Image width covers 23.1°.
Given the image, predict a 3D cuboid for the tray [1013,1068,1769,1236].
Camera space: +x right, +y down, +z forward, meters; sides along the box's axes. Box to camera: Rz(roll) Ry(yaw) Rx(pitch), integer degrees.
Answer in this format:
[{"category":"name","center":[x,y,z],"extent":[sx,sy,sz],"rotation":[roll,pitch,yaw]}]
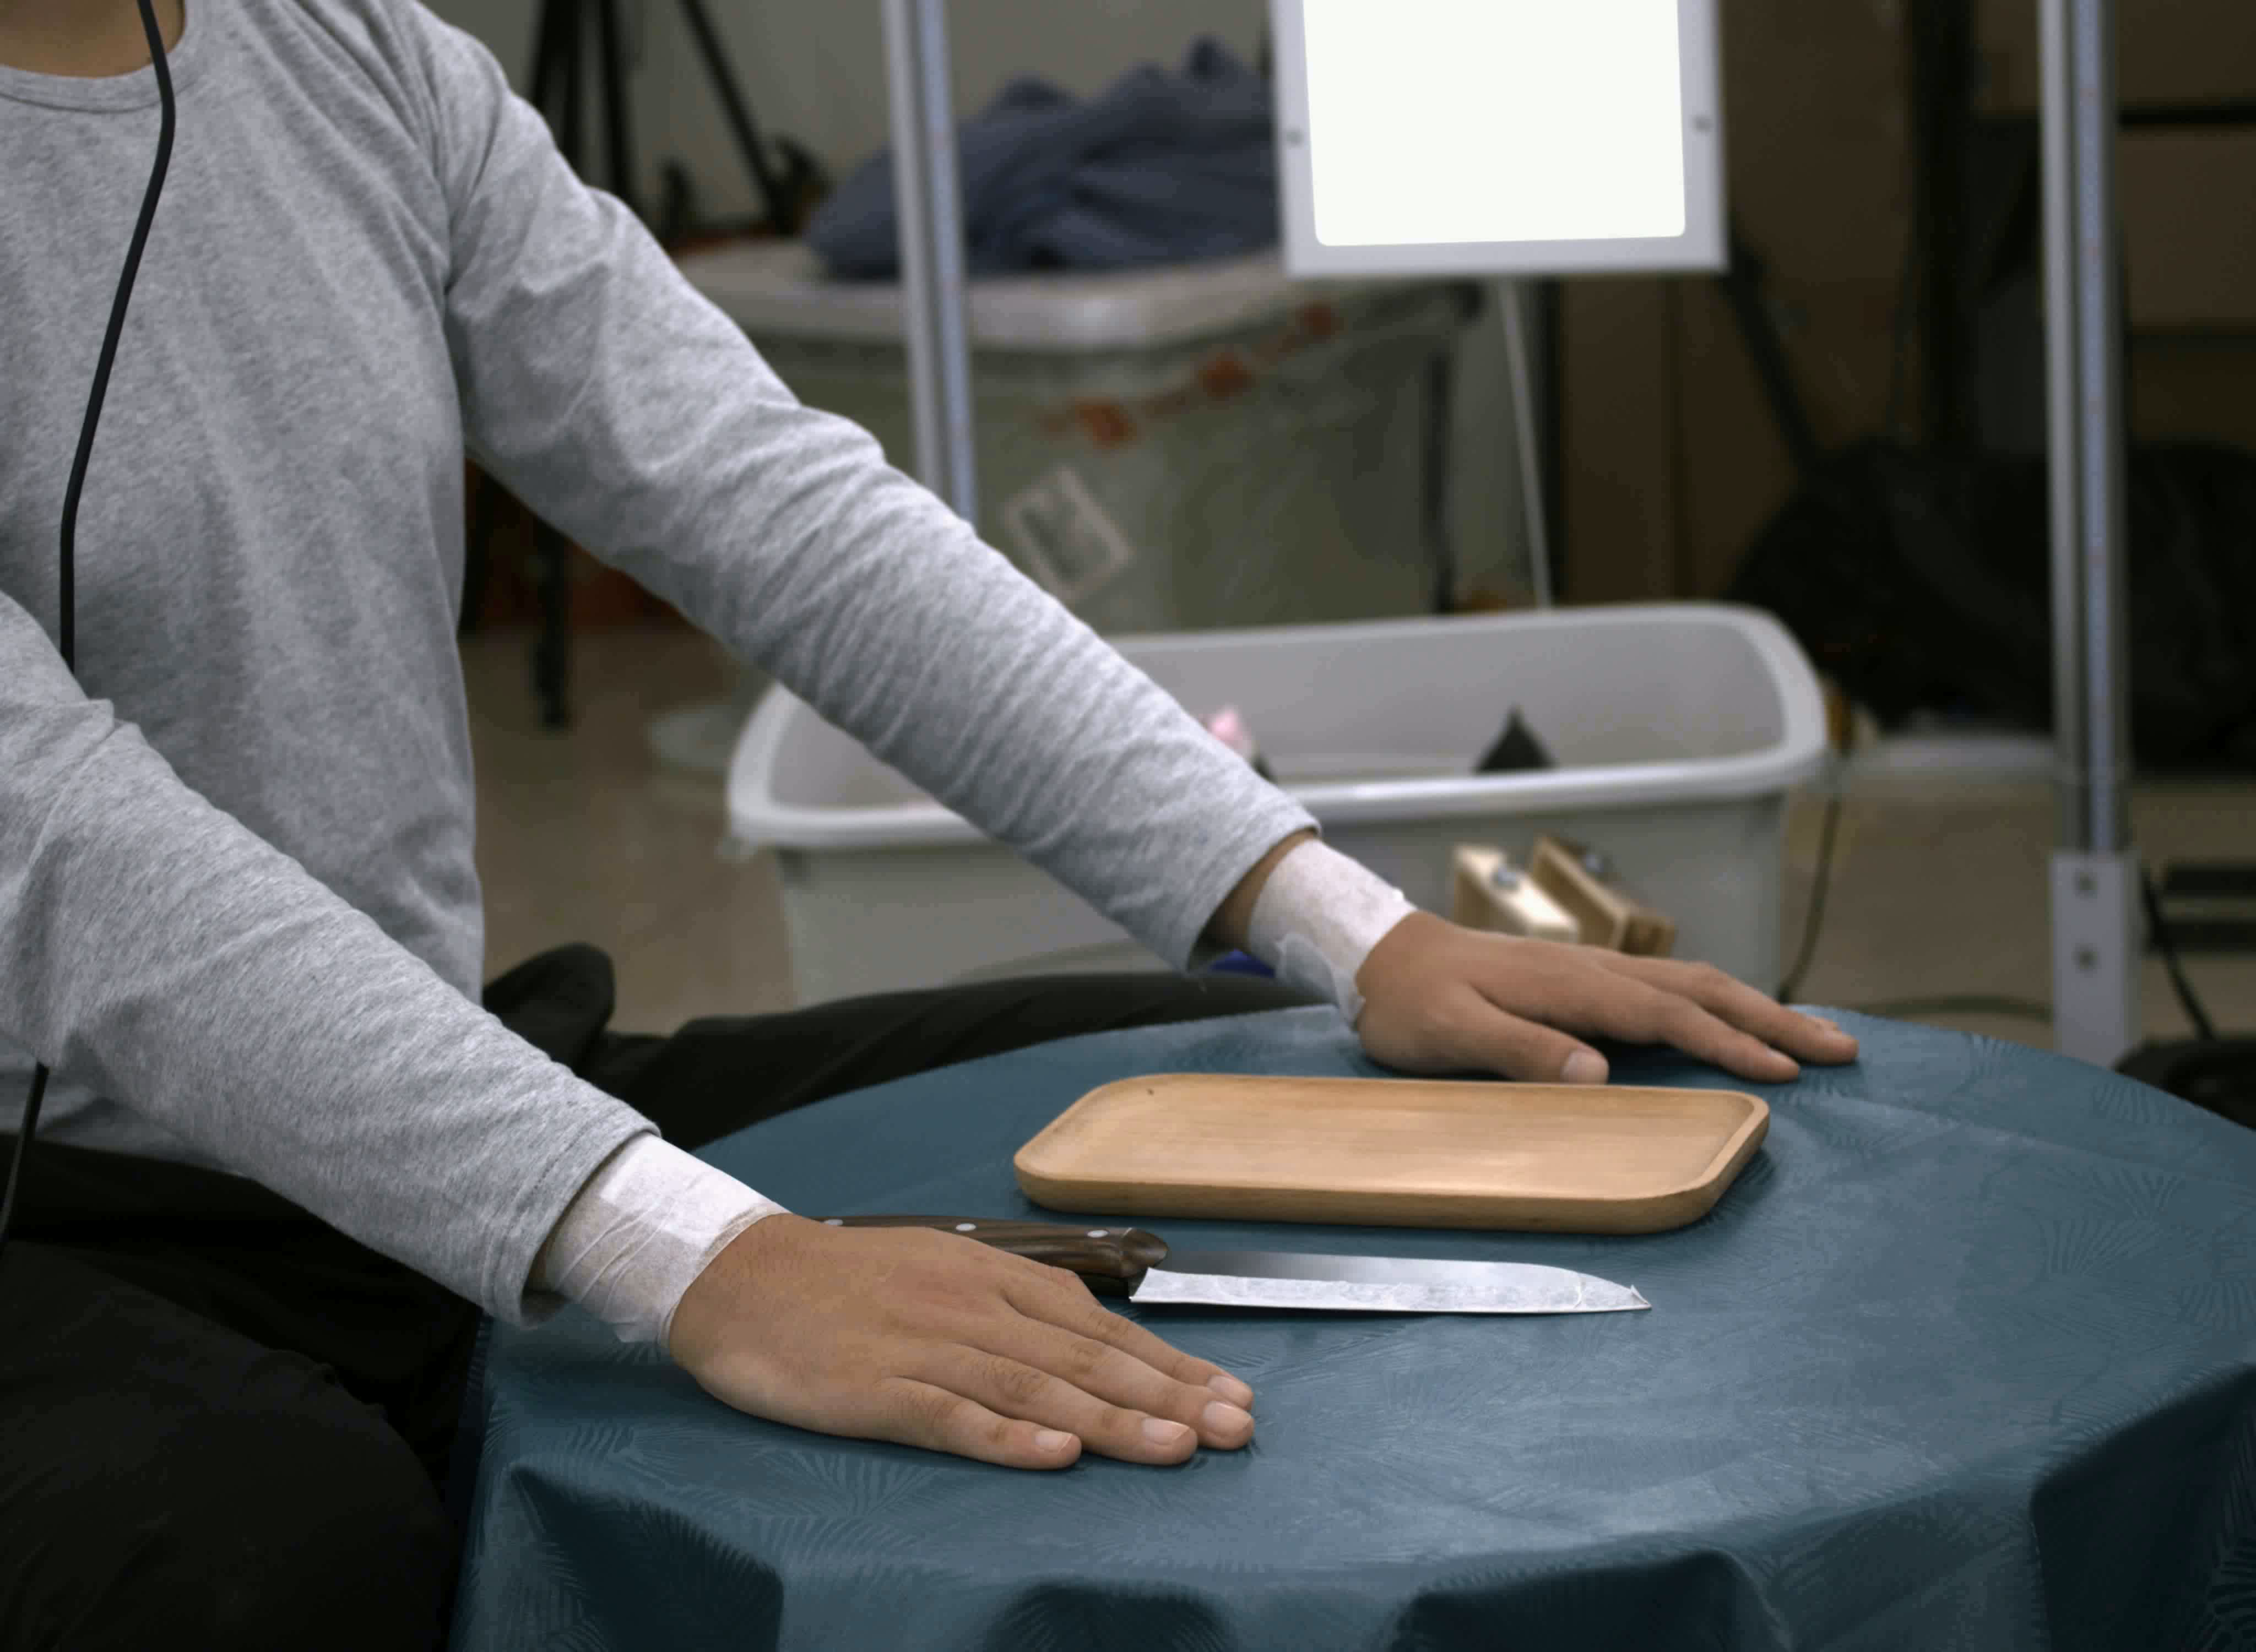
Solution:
[{"category":"tray","center":[0.091,0.112,1.897],"extent":[0.254,0.023,0.128],"rotation":[0,12,24]}]

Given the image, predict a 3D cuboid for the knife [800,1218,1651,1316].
[{"category":"knife","center":[0.028,0.146,1.785],"extent":[0.292,0.020,0.049],"rotation":[2,20,18]}]
